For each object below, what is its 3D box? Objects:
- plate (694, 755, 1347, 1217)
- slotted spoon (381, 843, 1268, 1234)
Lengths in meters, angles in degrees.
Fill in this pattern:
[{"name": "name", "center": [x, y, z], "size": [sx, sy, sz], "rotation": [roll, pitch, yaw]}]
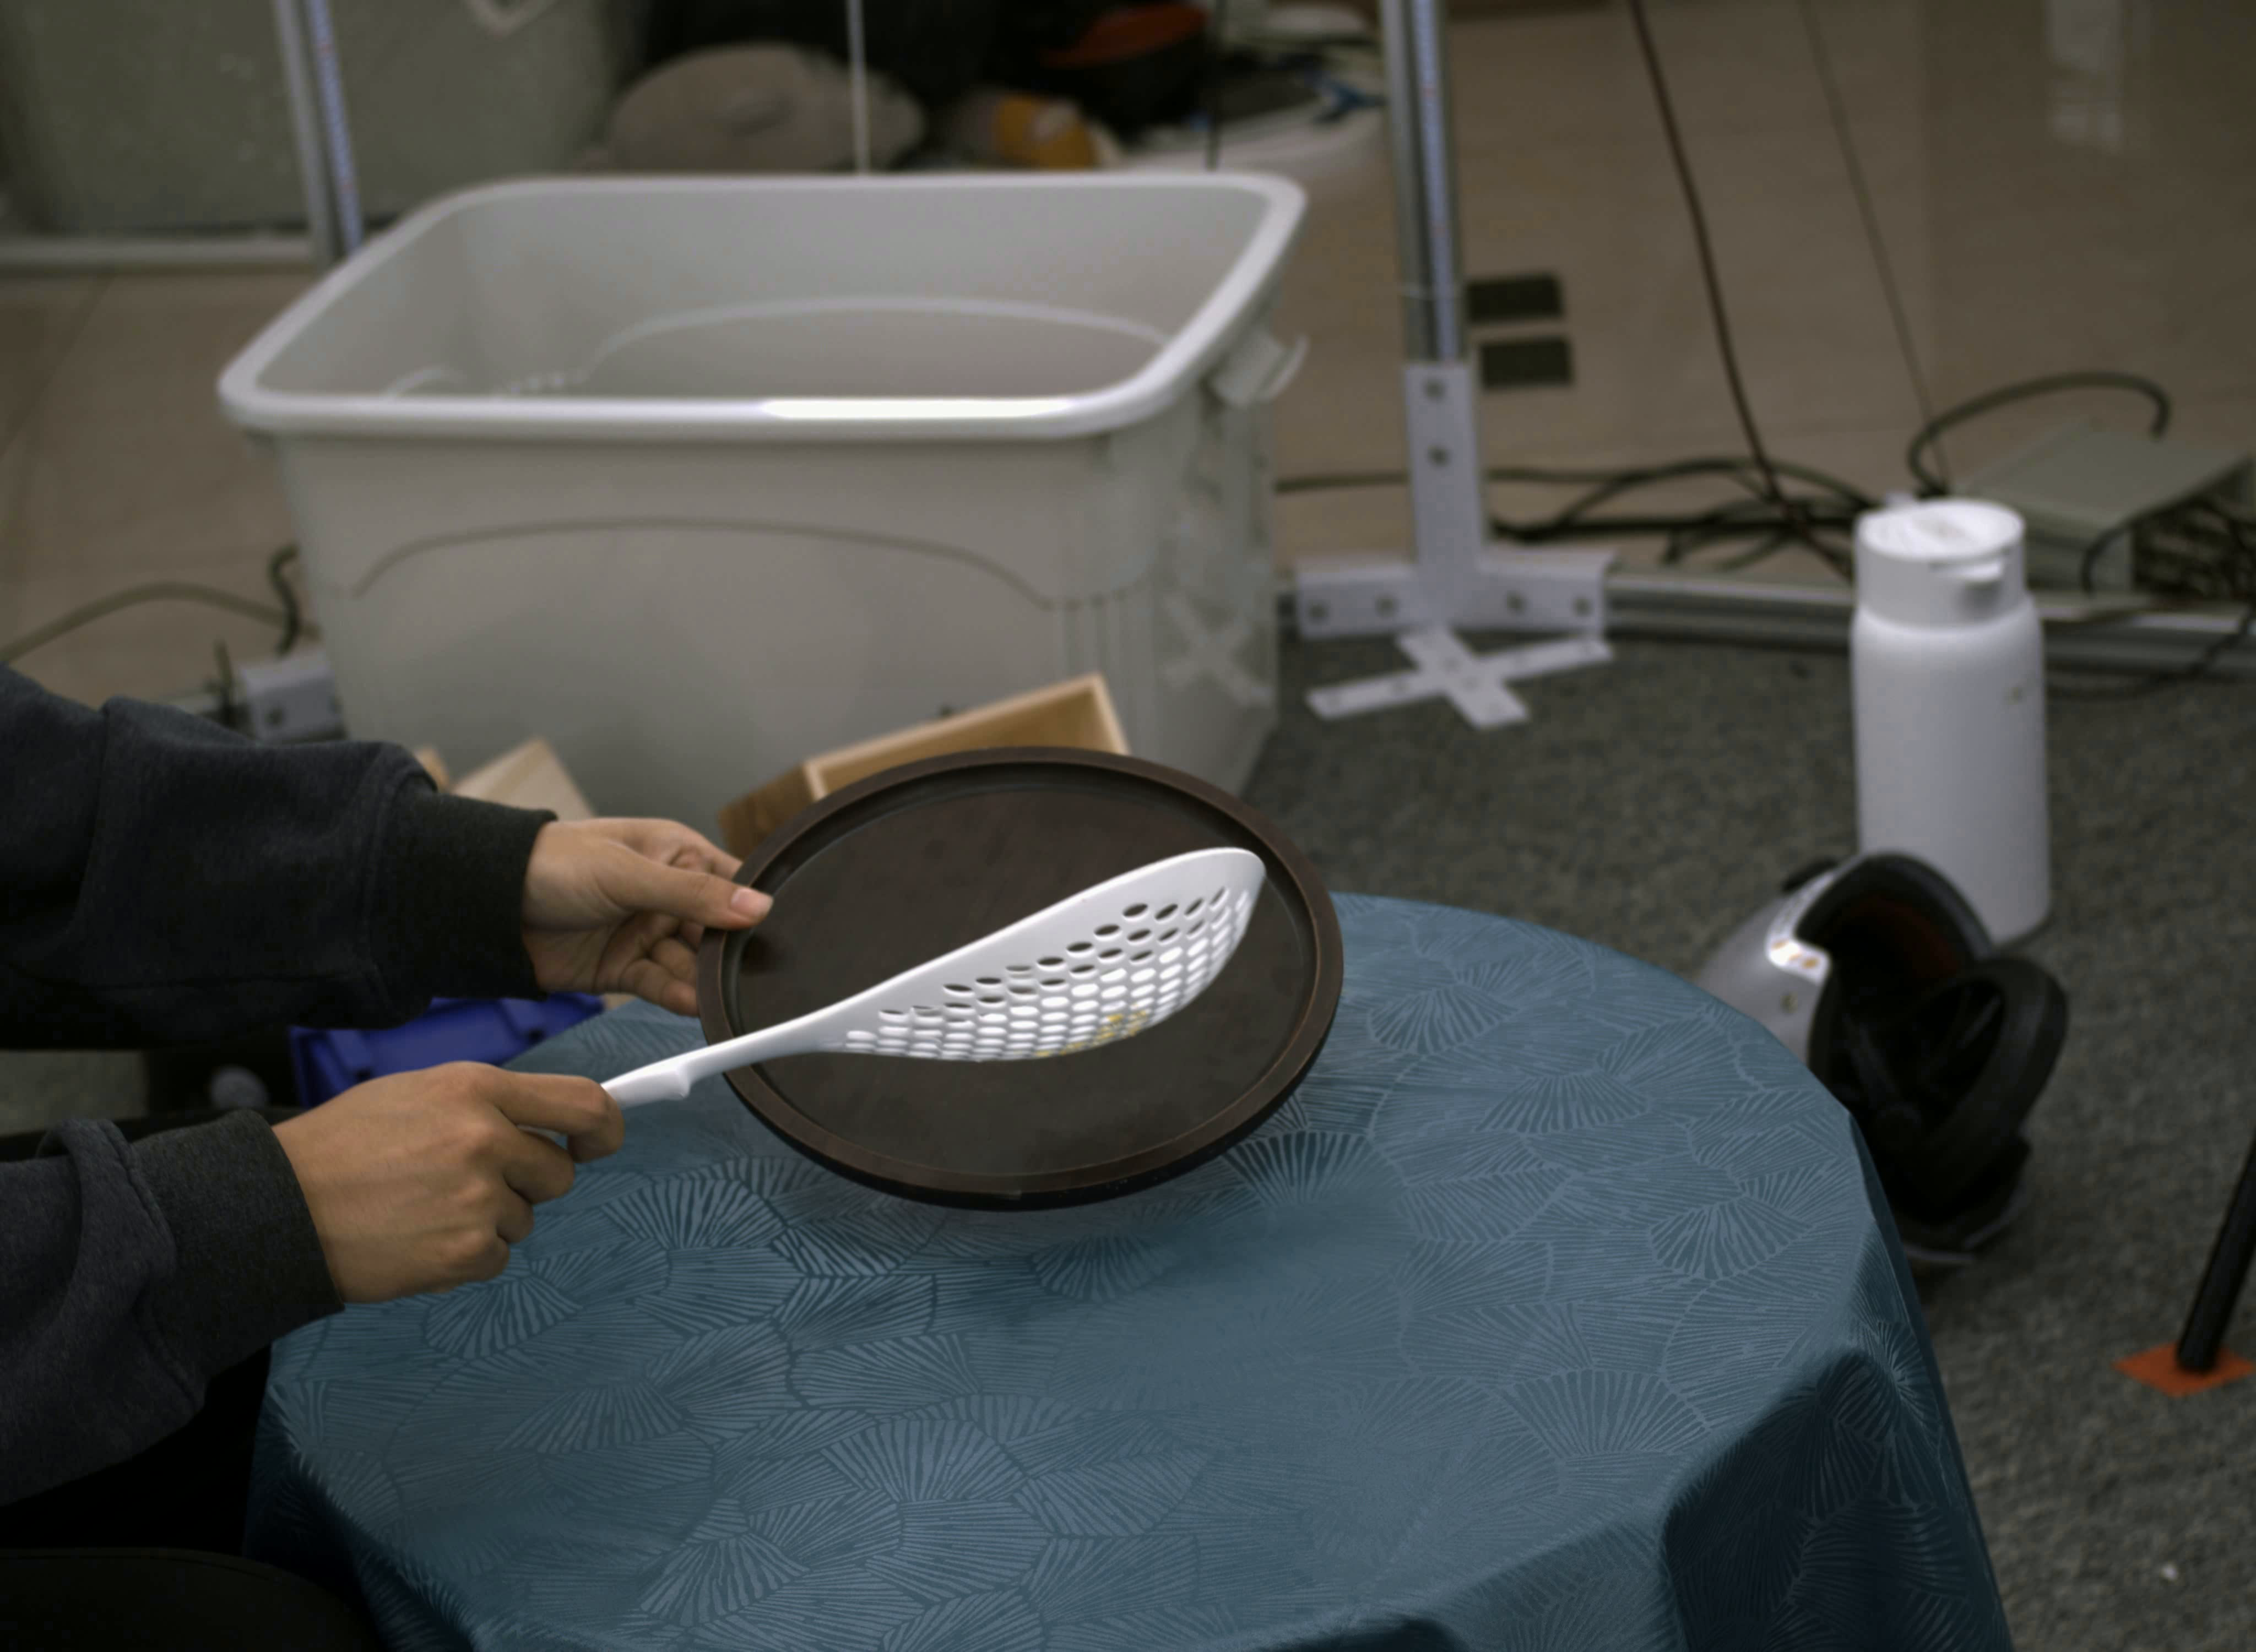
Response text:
[{"name": "plate", "center": [-0.042, 0.060, 2.200], "size": [0.254, 0.029, 0.250], "rotation": [-1, 44, 1]}, {"name": "slotted spoon", "center": [-0.106, 0.081, 2.019], "size": [0.346, 0.050, 0.138], "rotation": [-14, -15, -18]}]
